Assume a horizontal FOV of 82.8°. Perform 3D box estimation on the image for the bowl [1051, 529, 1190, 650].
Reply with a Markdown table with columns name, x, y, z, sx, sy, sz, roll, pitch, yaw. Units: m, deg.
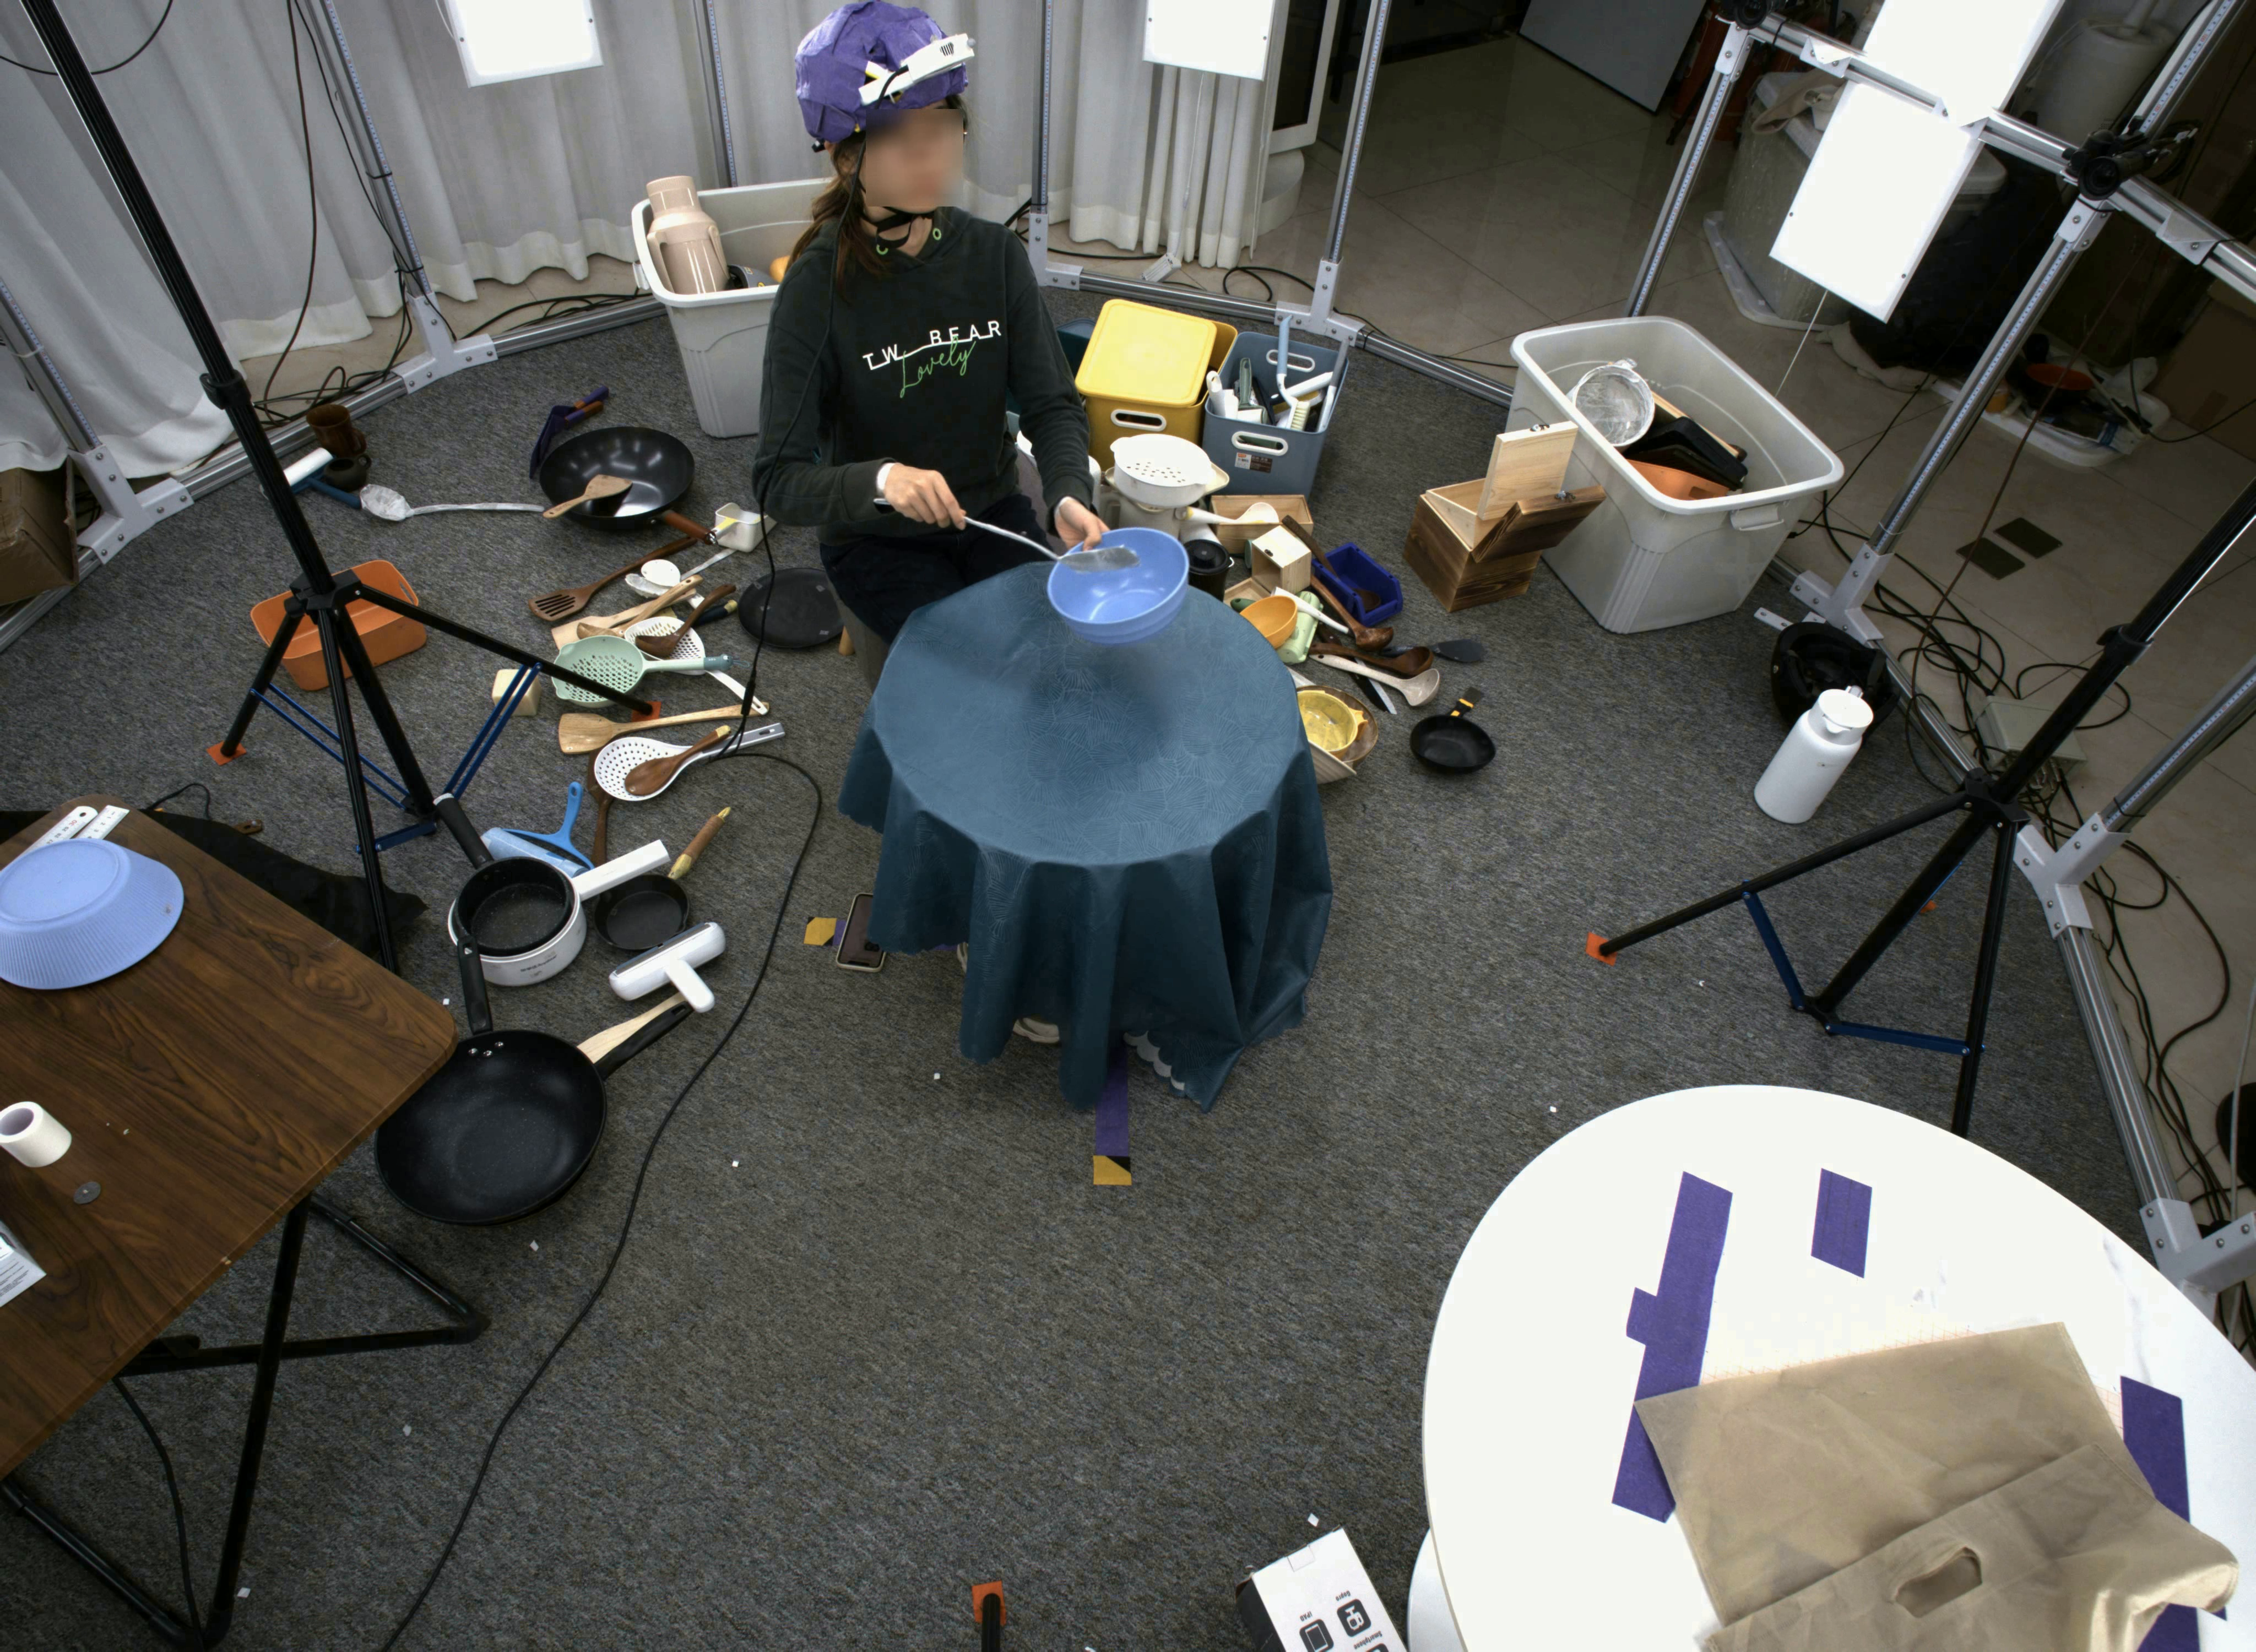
| name | x | y | z | sx | sy | sz | roll | pitch | yaw |
| --- | --- | --- | --- | --- | --- | --- | --- | --- | --- |
| bowl | -0.001 | -0.314 | 1.794 | 0.196 | 0.093 | 0.201 | -9 | 49 | 10 |

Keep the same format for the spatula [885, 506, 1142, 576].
| name | x | y | z | sx | sy | sz | roll | pitch | yaw |
| --- | --- | --- | --- | --- | --- | --- | --- | --- | --- |
| spatula | -0.158 | -0.385 | 1.709 | 0.367 | 0.098 | 0.045 | 21 | 91 | 13 |
